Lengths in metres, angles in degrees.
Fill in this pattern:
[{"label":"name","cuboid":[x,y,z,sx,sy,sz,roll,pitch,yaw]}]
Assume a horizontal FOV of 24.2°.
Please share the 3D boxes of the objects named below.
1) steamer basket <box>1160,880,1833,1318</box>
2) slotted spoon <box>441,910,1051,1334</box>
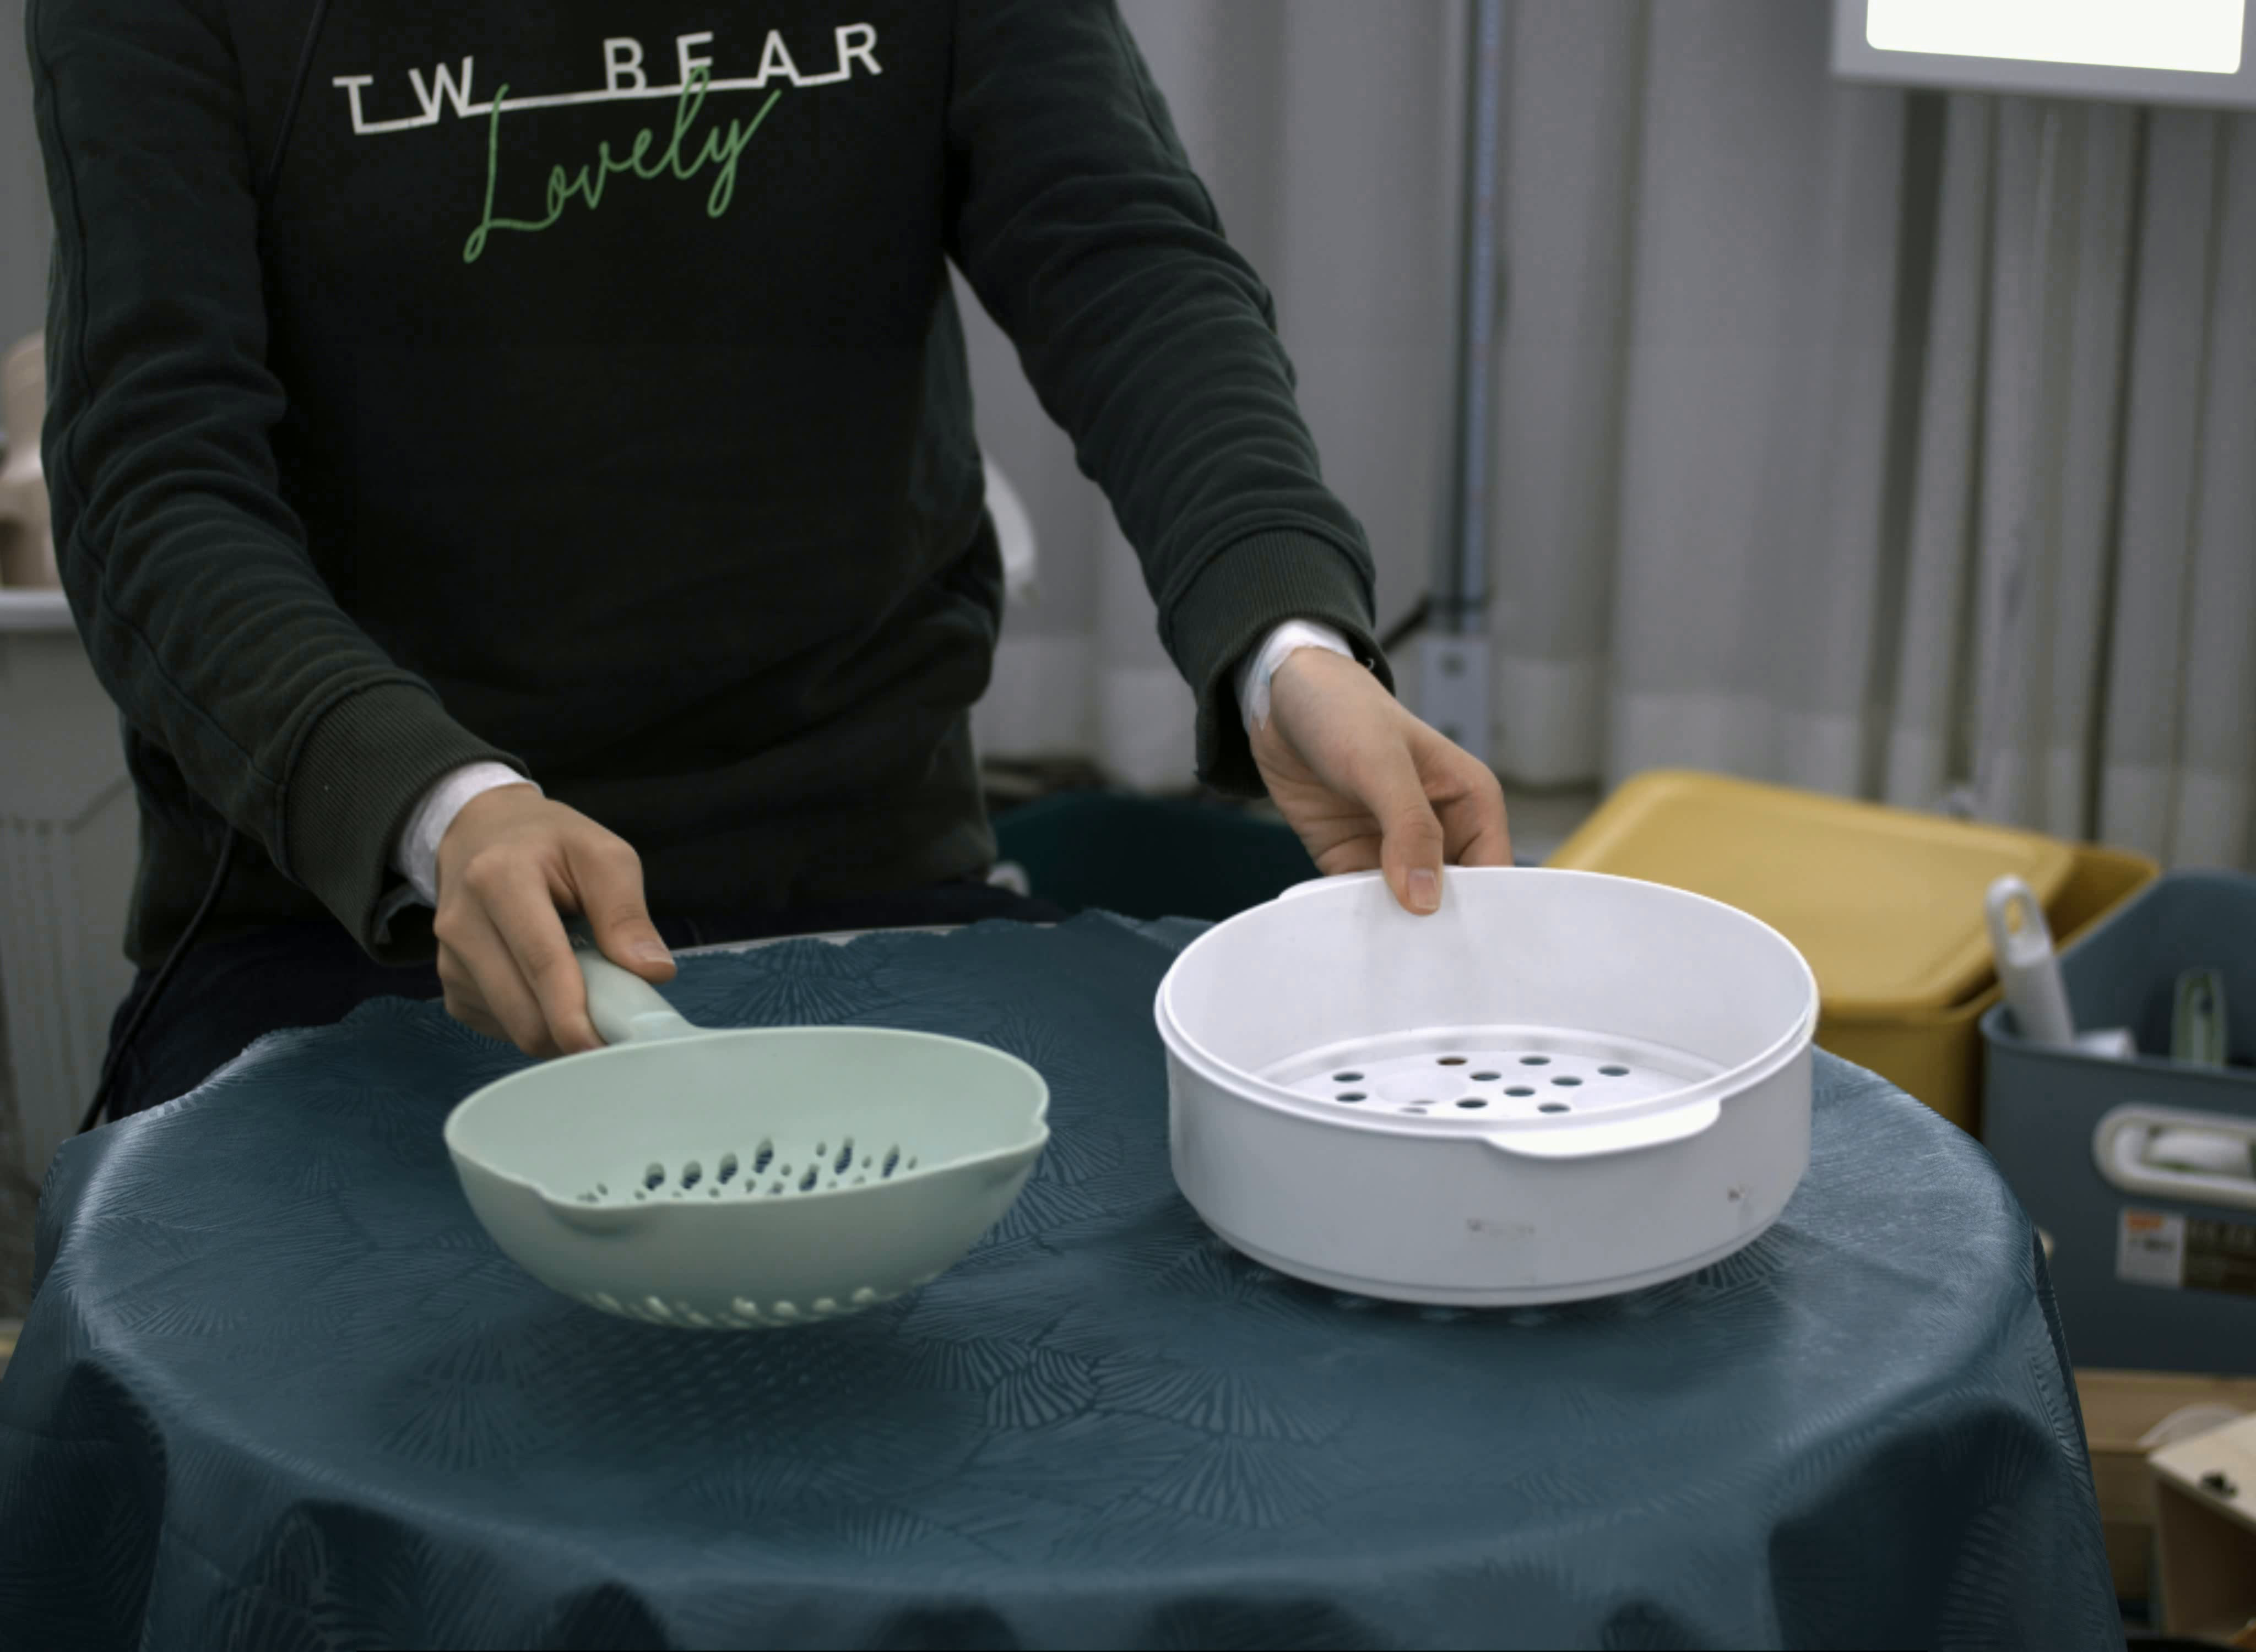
[{"label":"steamer basket","cuboid":[0.110,0.082,1.588,0.202,0.070,0.228,-7,21,-17]},{"label":"slotted spoon","cuboid":[-0.136,0.070,1.555,0.170,0.076,0.354,-6,22,-18]}]
